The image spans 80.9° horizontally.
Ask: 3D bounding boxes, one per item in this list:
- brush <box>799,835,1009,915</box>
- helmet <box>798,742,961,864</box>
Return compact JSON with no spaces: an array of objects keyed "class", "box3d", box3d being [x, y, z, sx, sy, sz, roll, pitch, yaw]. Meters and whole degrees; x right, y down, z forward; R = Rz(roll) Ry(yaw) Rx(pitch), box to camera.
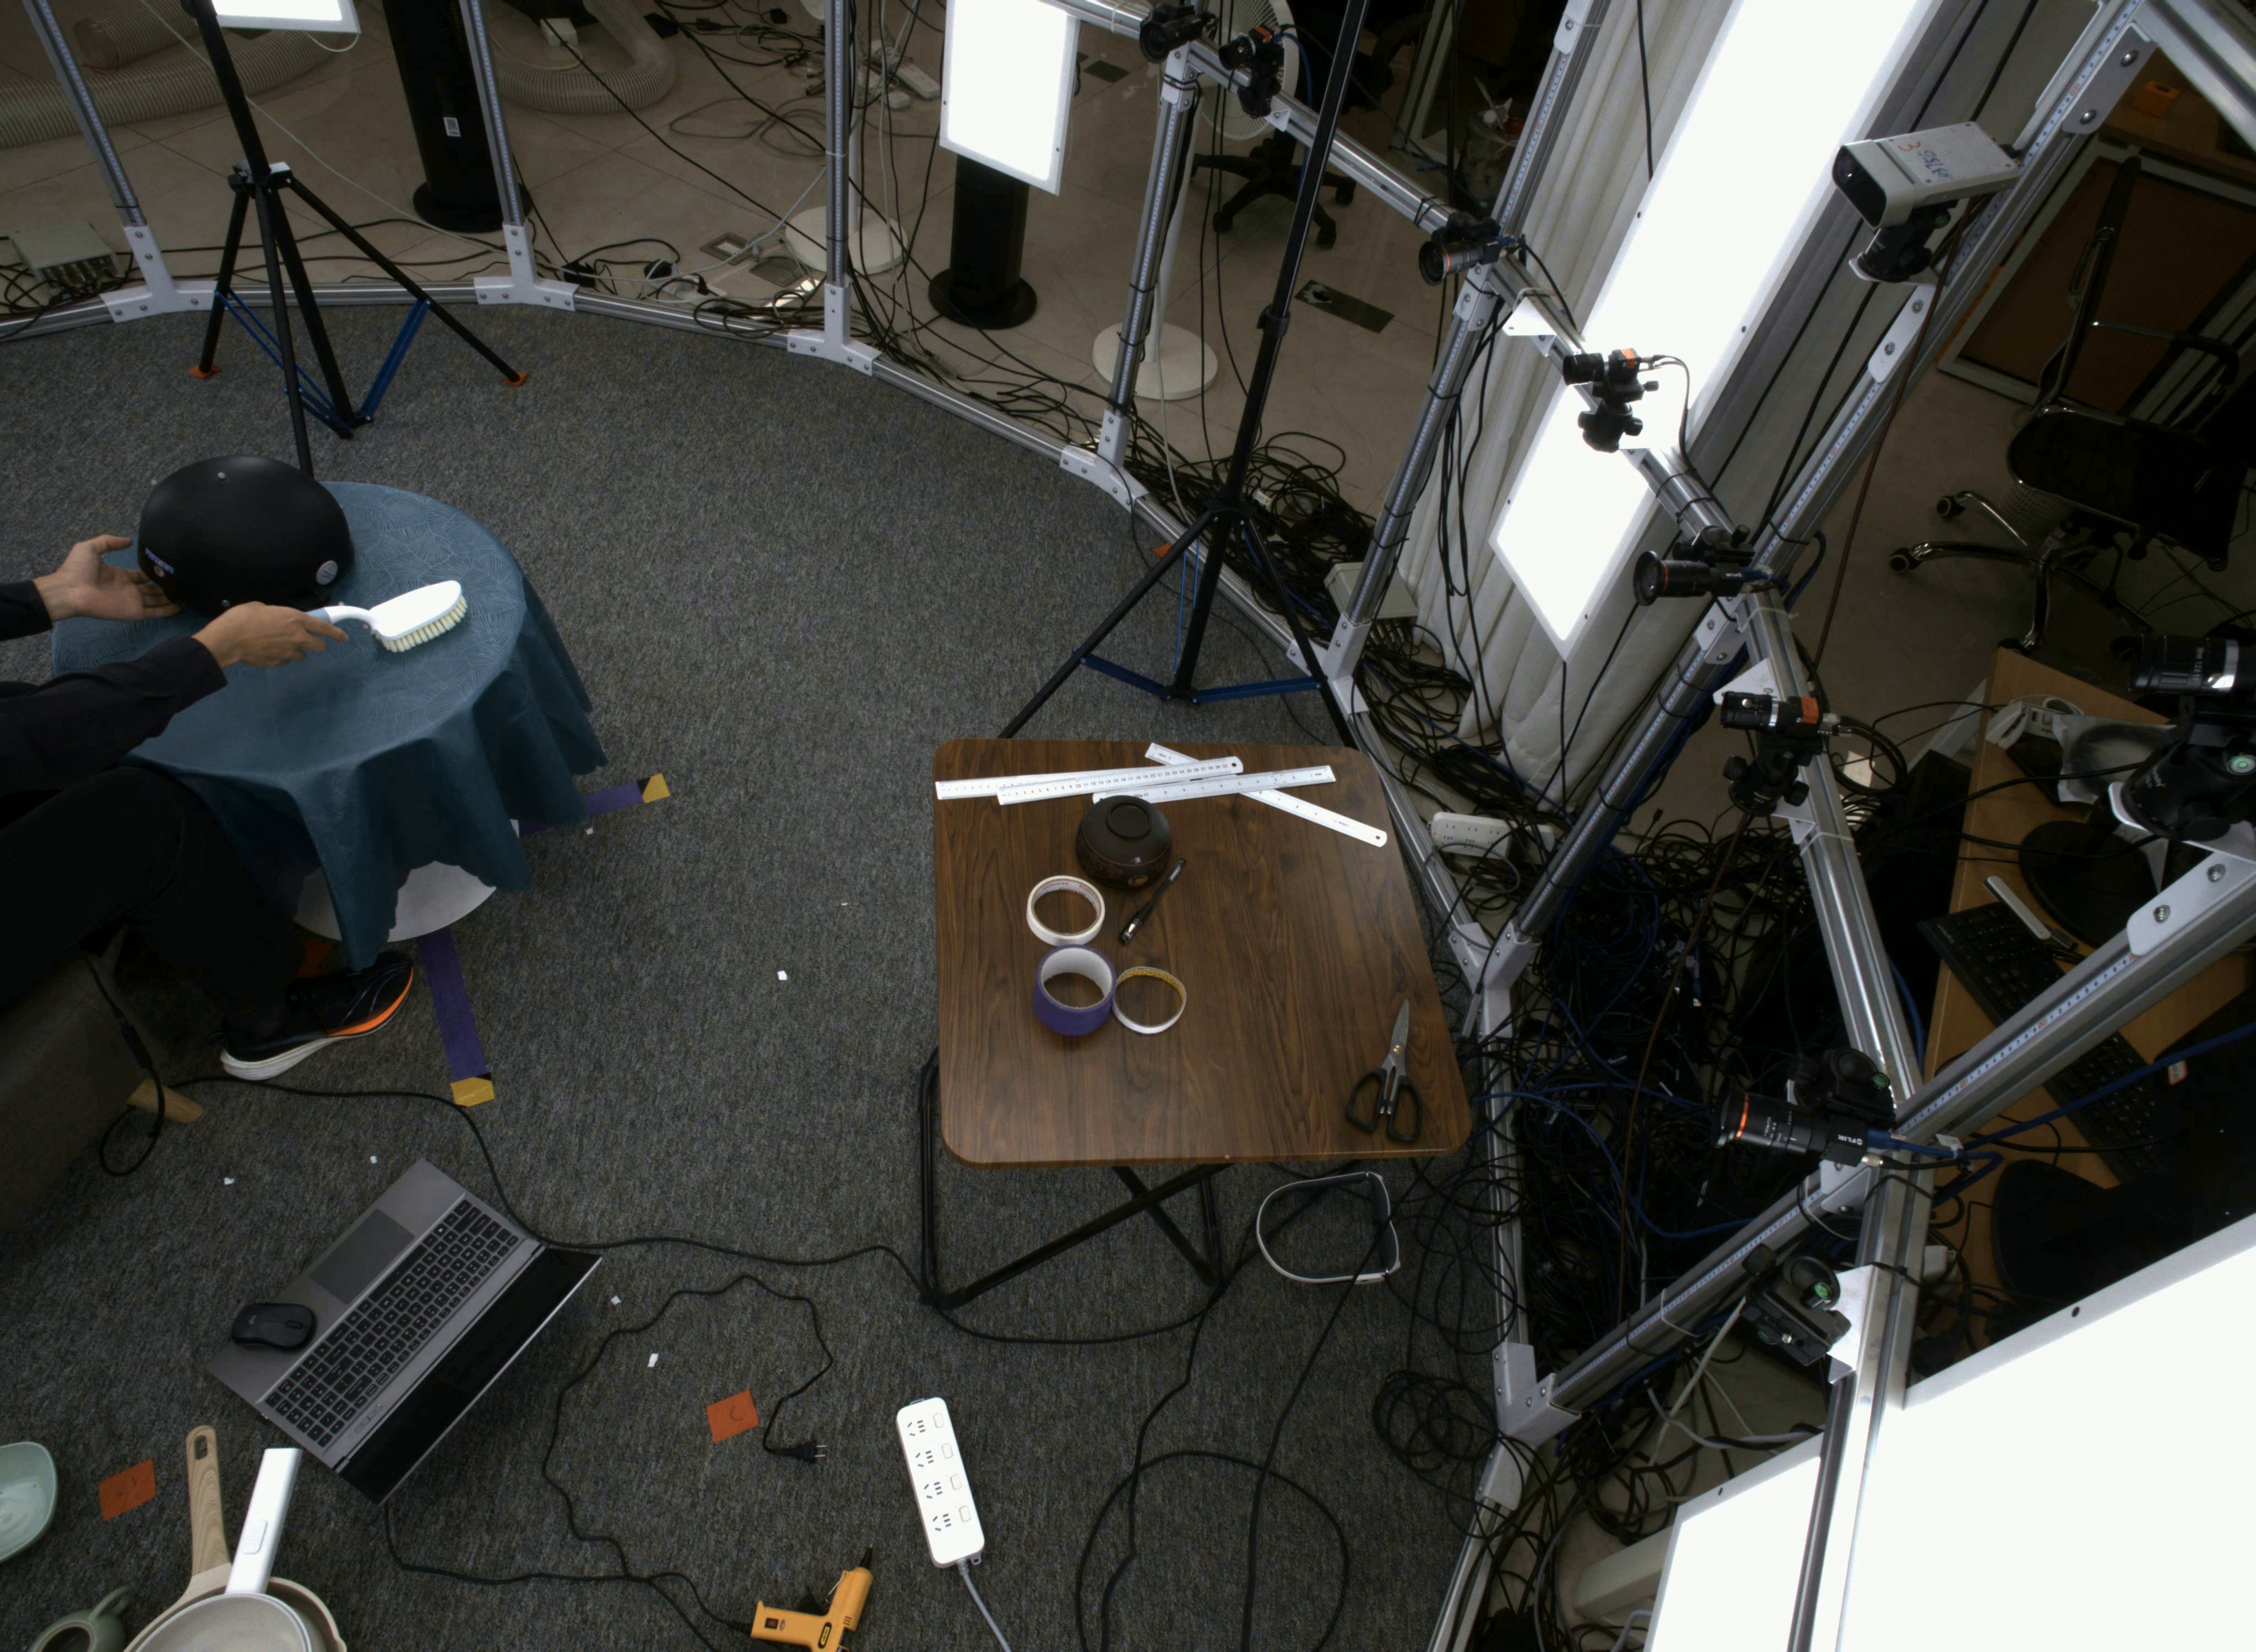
[{"class":"brush","box3d":[-0.337,0.084,1.960,0.328,0.084,0.082,11,-15,-19]},{"class":"helmet","box3d":[-0.394,-0.048,2.119,0.277,0.170,0.222,3,30,-27]}]
